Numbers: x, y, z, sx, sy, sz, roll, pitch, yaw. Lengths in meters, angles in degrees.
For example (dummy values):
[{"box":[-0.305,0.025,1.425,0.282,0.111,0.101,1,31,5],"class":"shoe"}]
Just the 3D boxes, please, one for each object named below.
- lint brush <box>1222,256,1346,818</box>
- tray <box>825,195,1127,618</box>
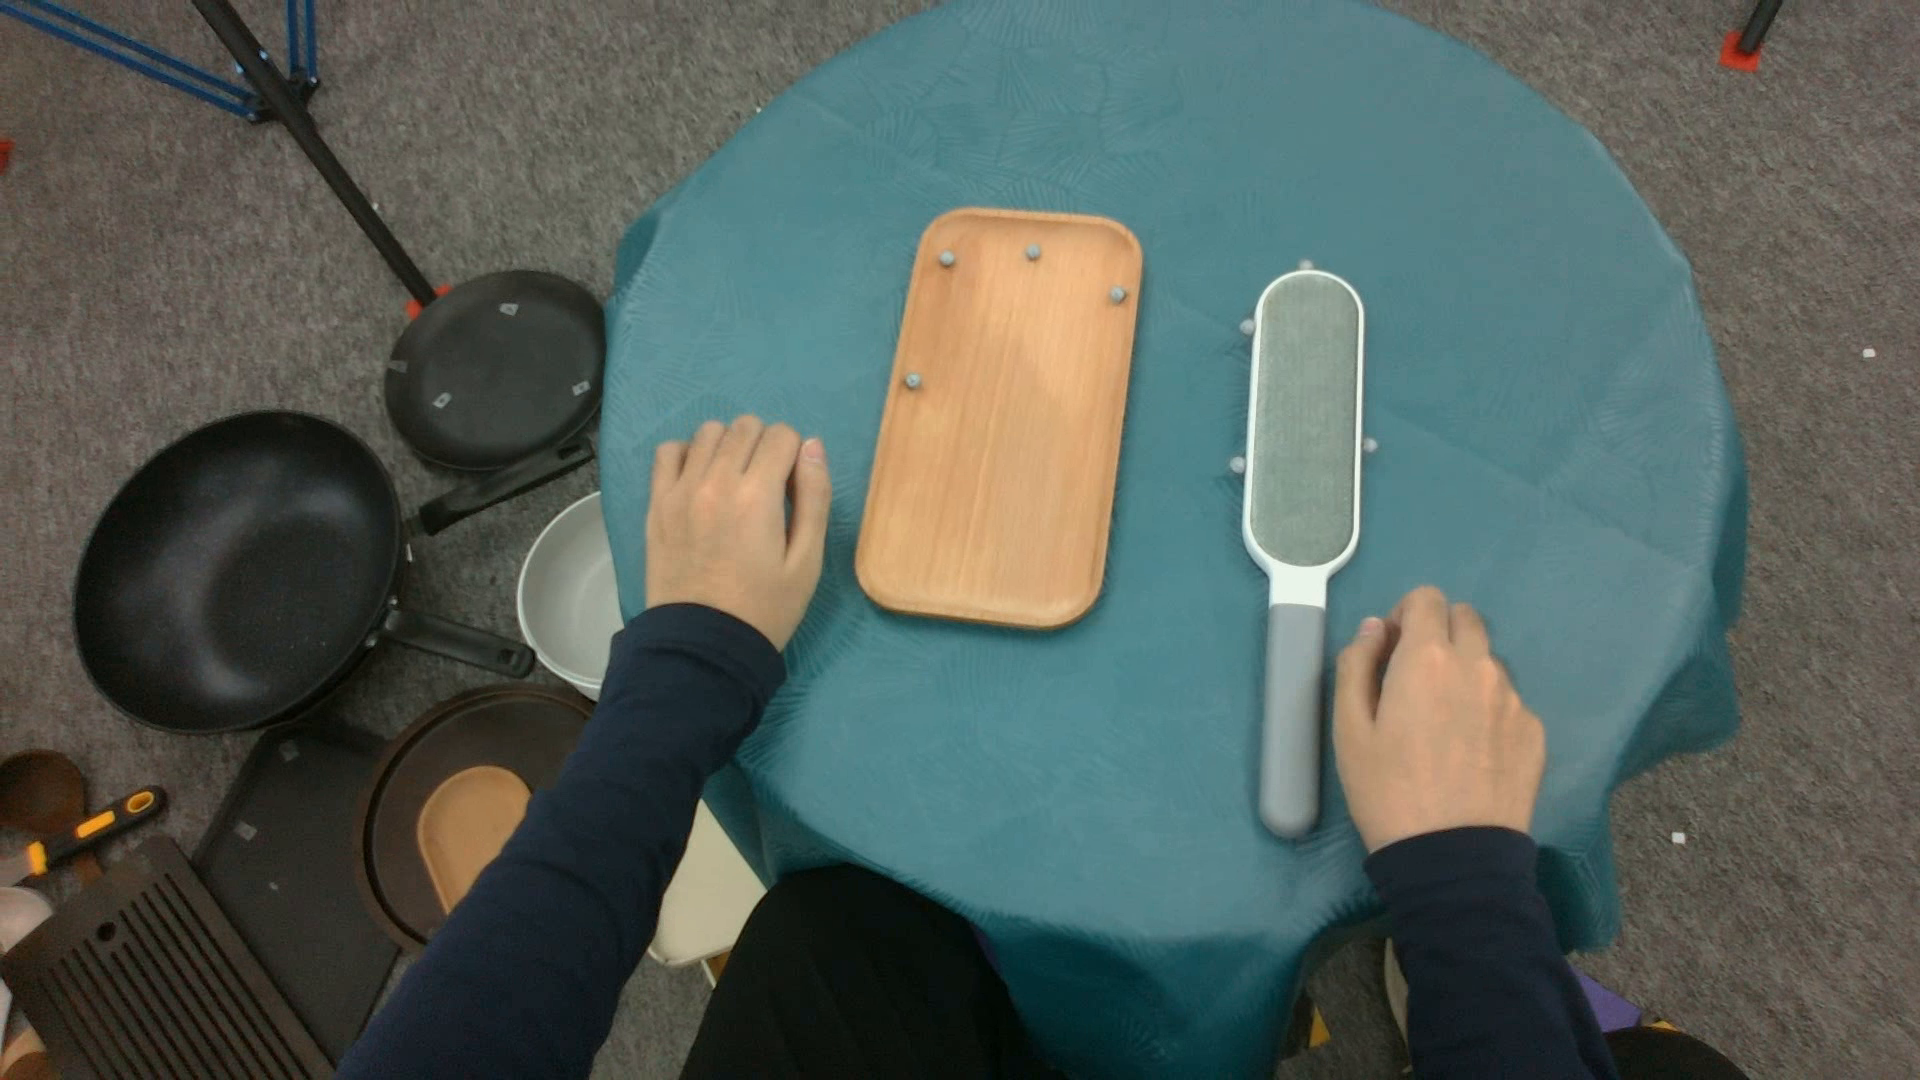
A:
[{"box":[0.160,-0.014,0.688,0.060,0.021,0.310,8,65,2],"class":"lint brush"},{"box":[0.013,-0.078,0.735,0.130,0.023,0.251,7,66,10],"class":"tray"}]
